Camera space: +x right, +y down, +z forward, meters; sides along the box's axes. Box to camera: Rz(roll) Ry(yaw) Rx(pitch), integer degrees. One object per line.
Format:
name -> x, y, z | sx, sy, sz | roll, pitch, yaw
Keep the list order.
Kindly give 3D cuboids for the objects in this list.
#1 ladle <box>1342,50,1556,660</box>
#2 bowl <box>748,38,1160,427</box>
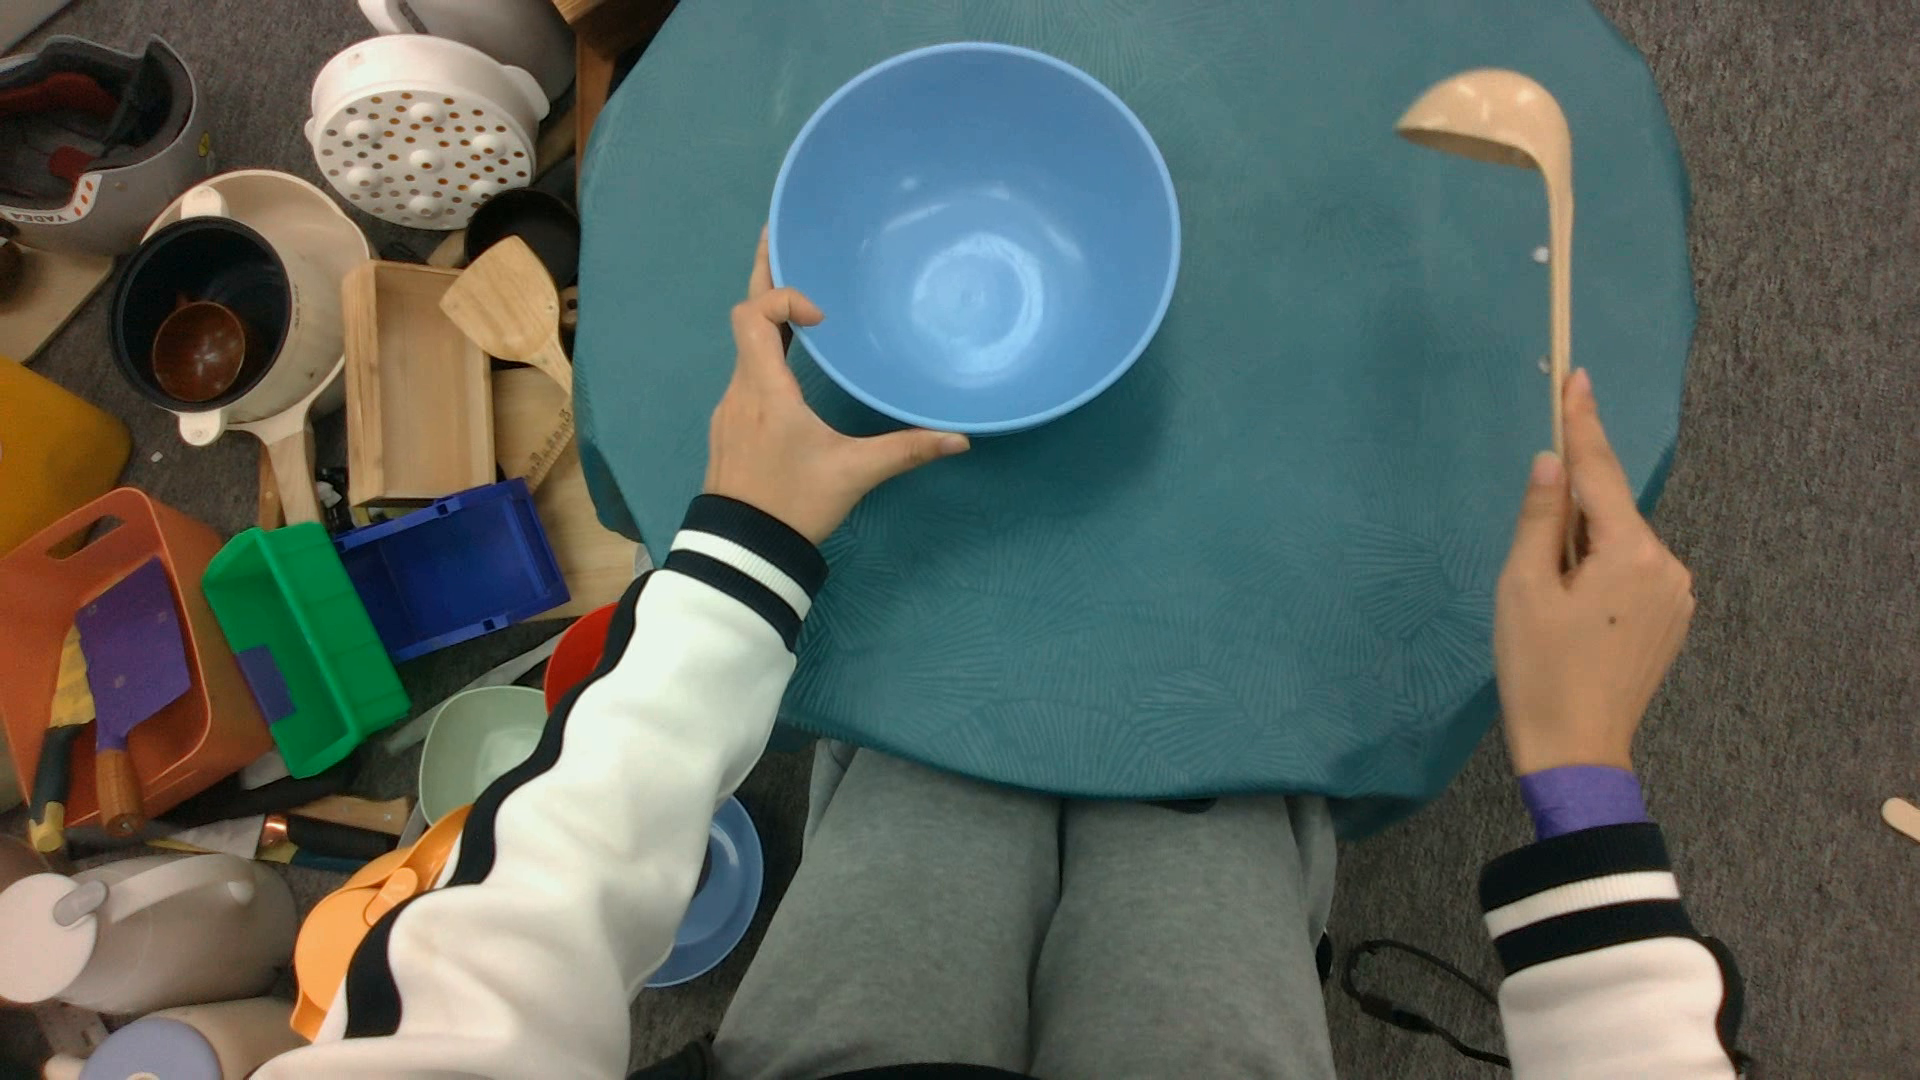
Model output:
ladle -> 0.207, -0.076, 0.583 | 0.072, 0.072, 0.254 | -2, 88, -36
bowl -> -0.004, -0.141, 0.698 | 0.196, 0.095, 0.197 | 1, 78, -3
